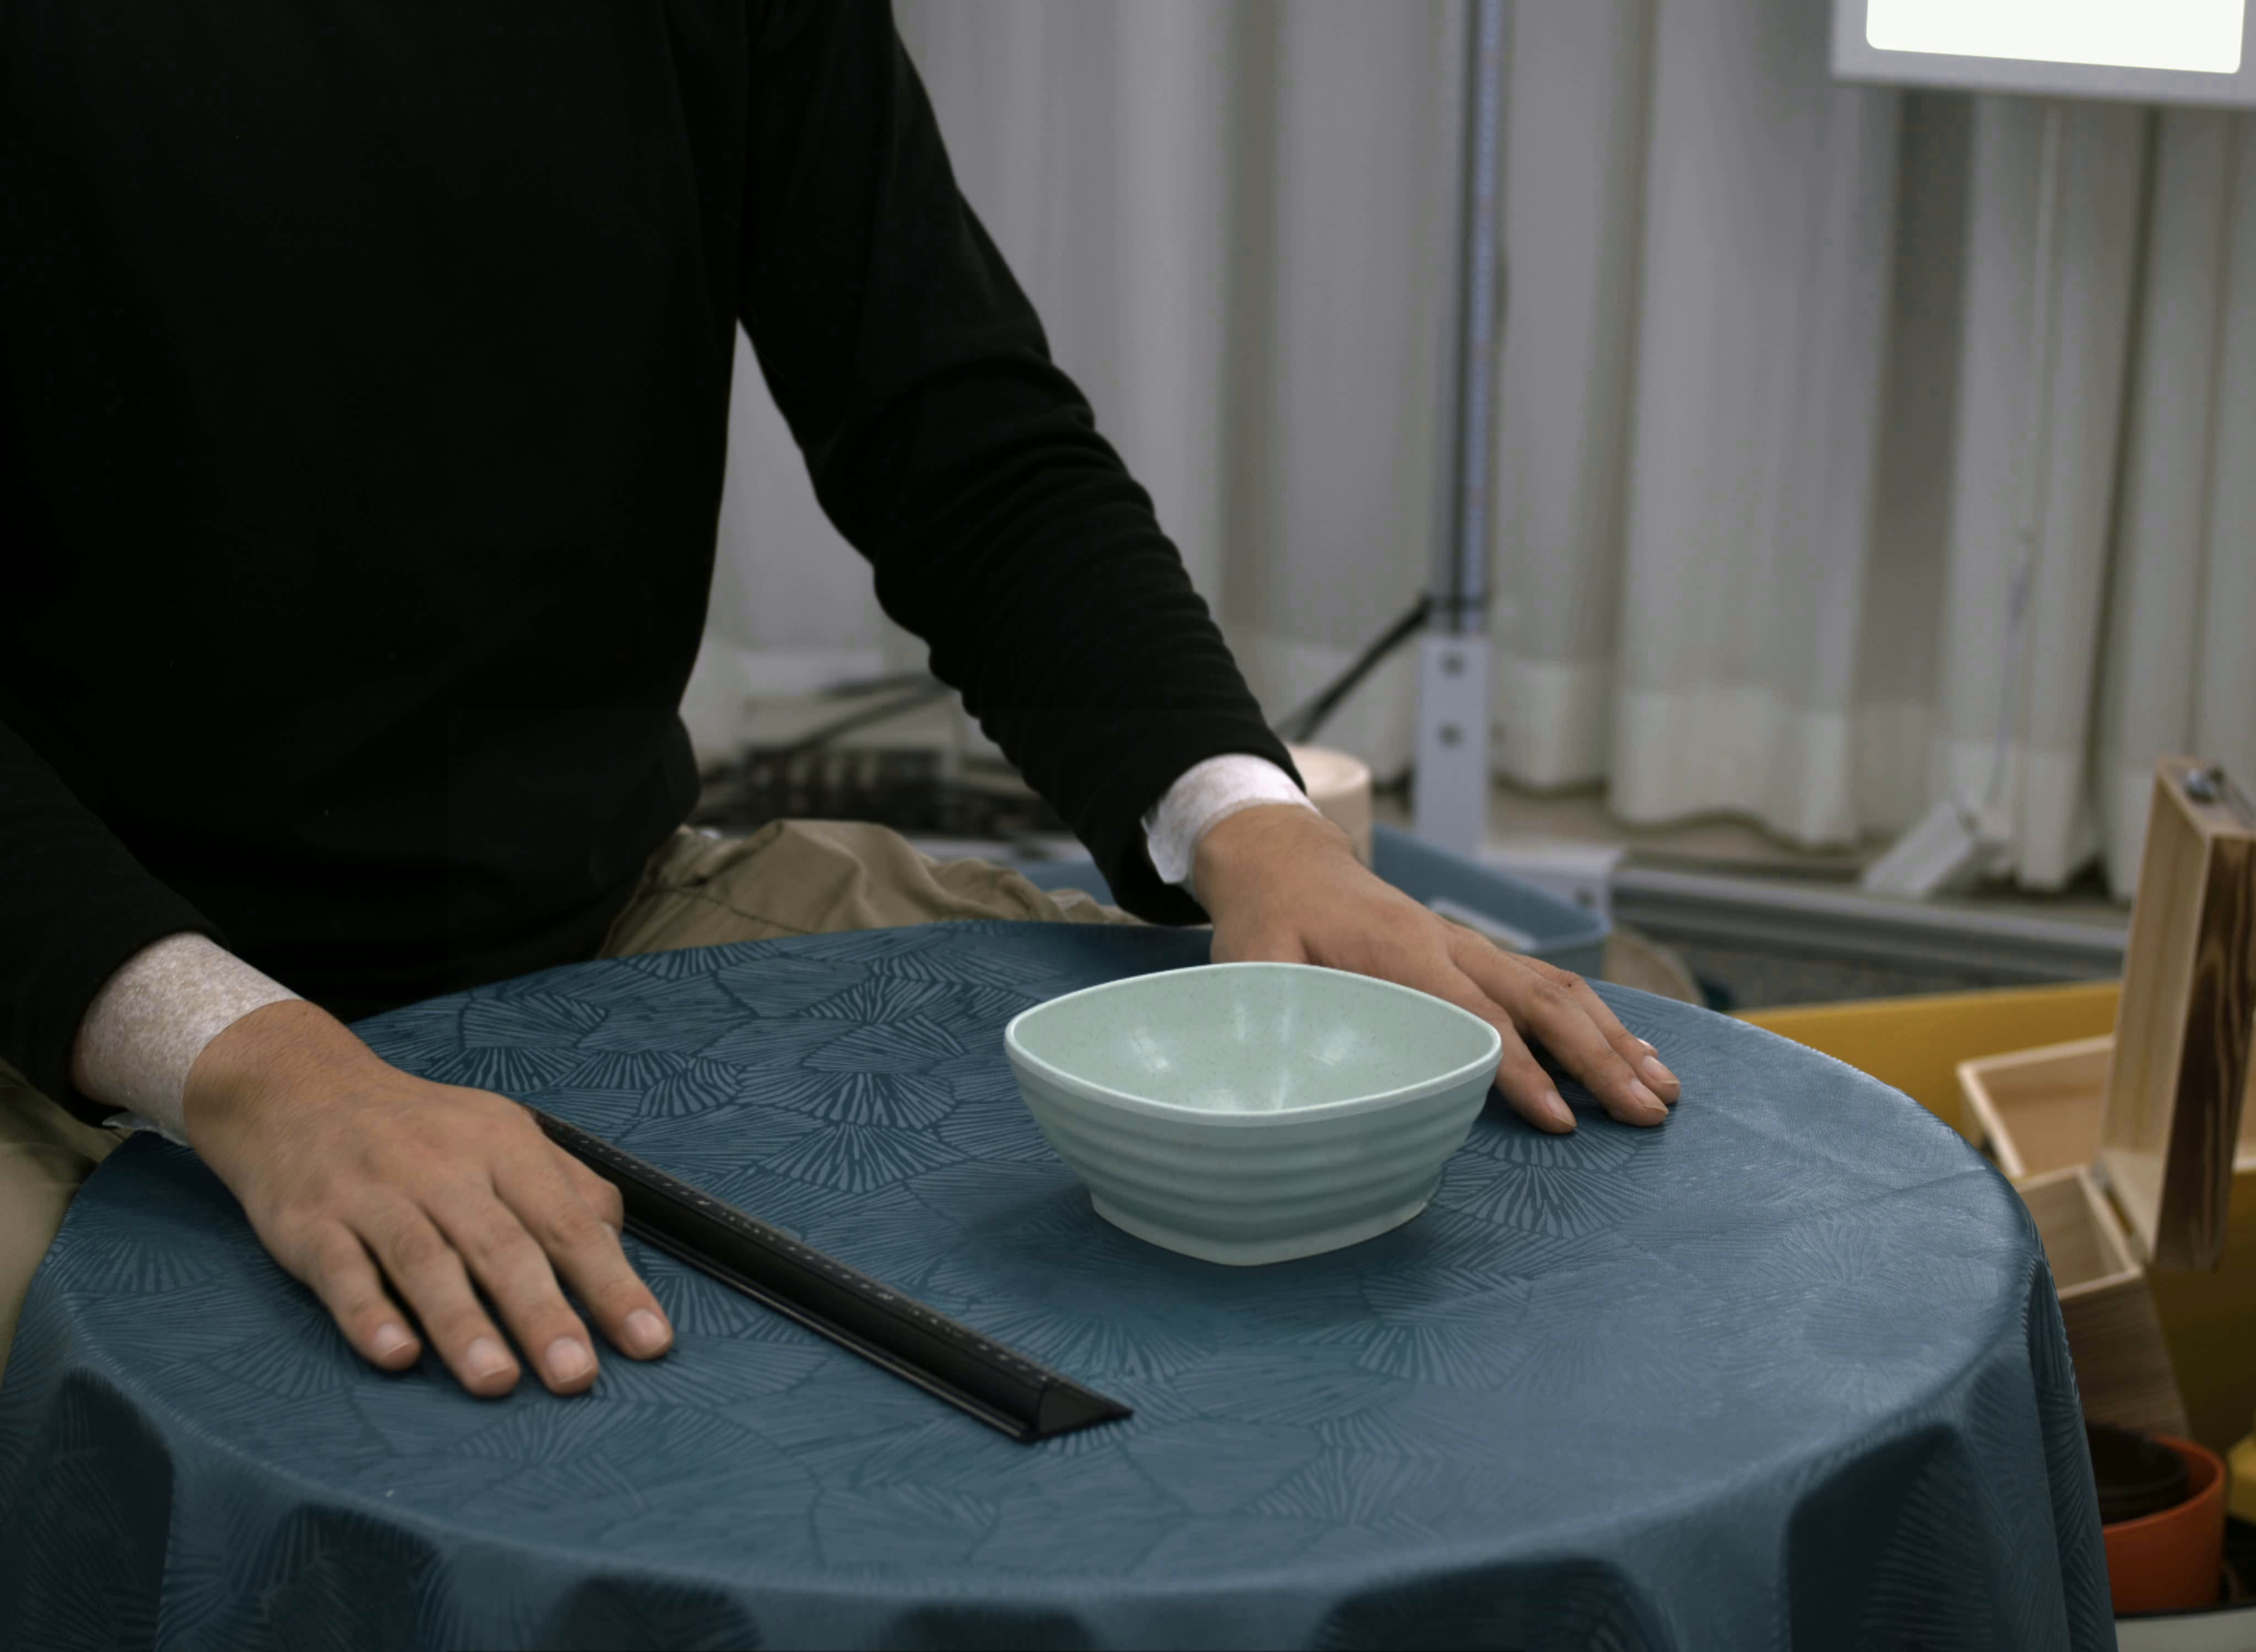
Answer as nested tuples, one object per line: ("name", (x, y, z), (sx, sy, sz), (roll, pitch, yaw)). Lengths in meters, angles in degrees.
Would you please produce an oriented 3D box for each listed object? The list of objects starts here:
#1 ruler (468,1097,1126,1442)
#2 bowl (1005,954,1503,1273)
("ruler", (-0.103, 0.124, 1.548), (0.039, 0.017, 0.308), (-6, 16, -36))
("bowl", (0.037, 0.090, 1.597), (0.151, 0.059, 0.150), (1, 18, 0))
